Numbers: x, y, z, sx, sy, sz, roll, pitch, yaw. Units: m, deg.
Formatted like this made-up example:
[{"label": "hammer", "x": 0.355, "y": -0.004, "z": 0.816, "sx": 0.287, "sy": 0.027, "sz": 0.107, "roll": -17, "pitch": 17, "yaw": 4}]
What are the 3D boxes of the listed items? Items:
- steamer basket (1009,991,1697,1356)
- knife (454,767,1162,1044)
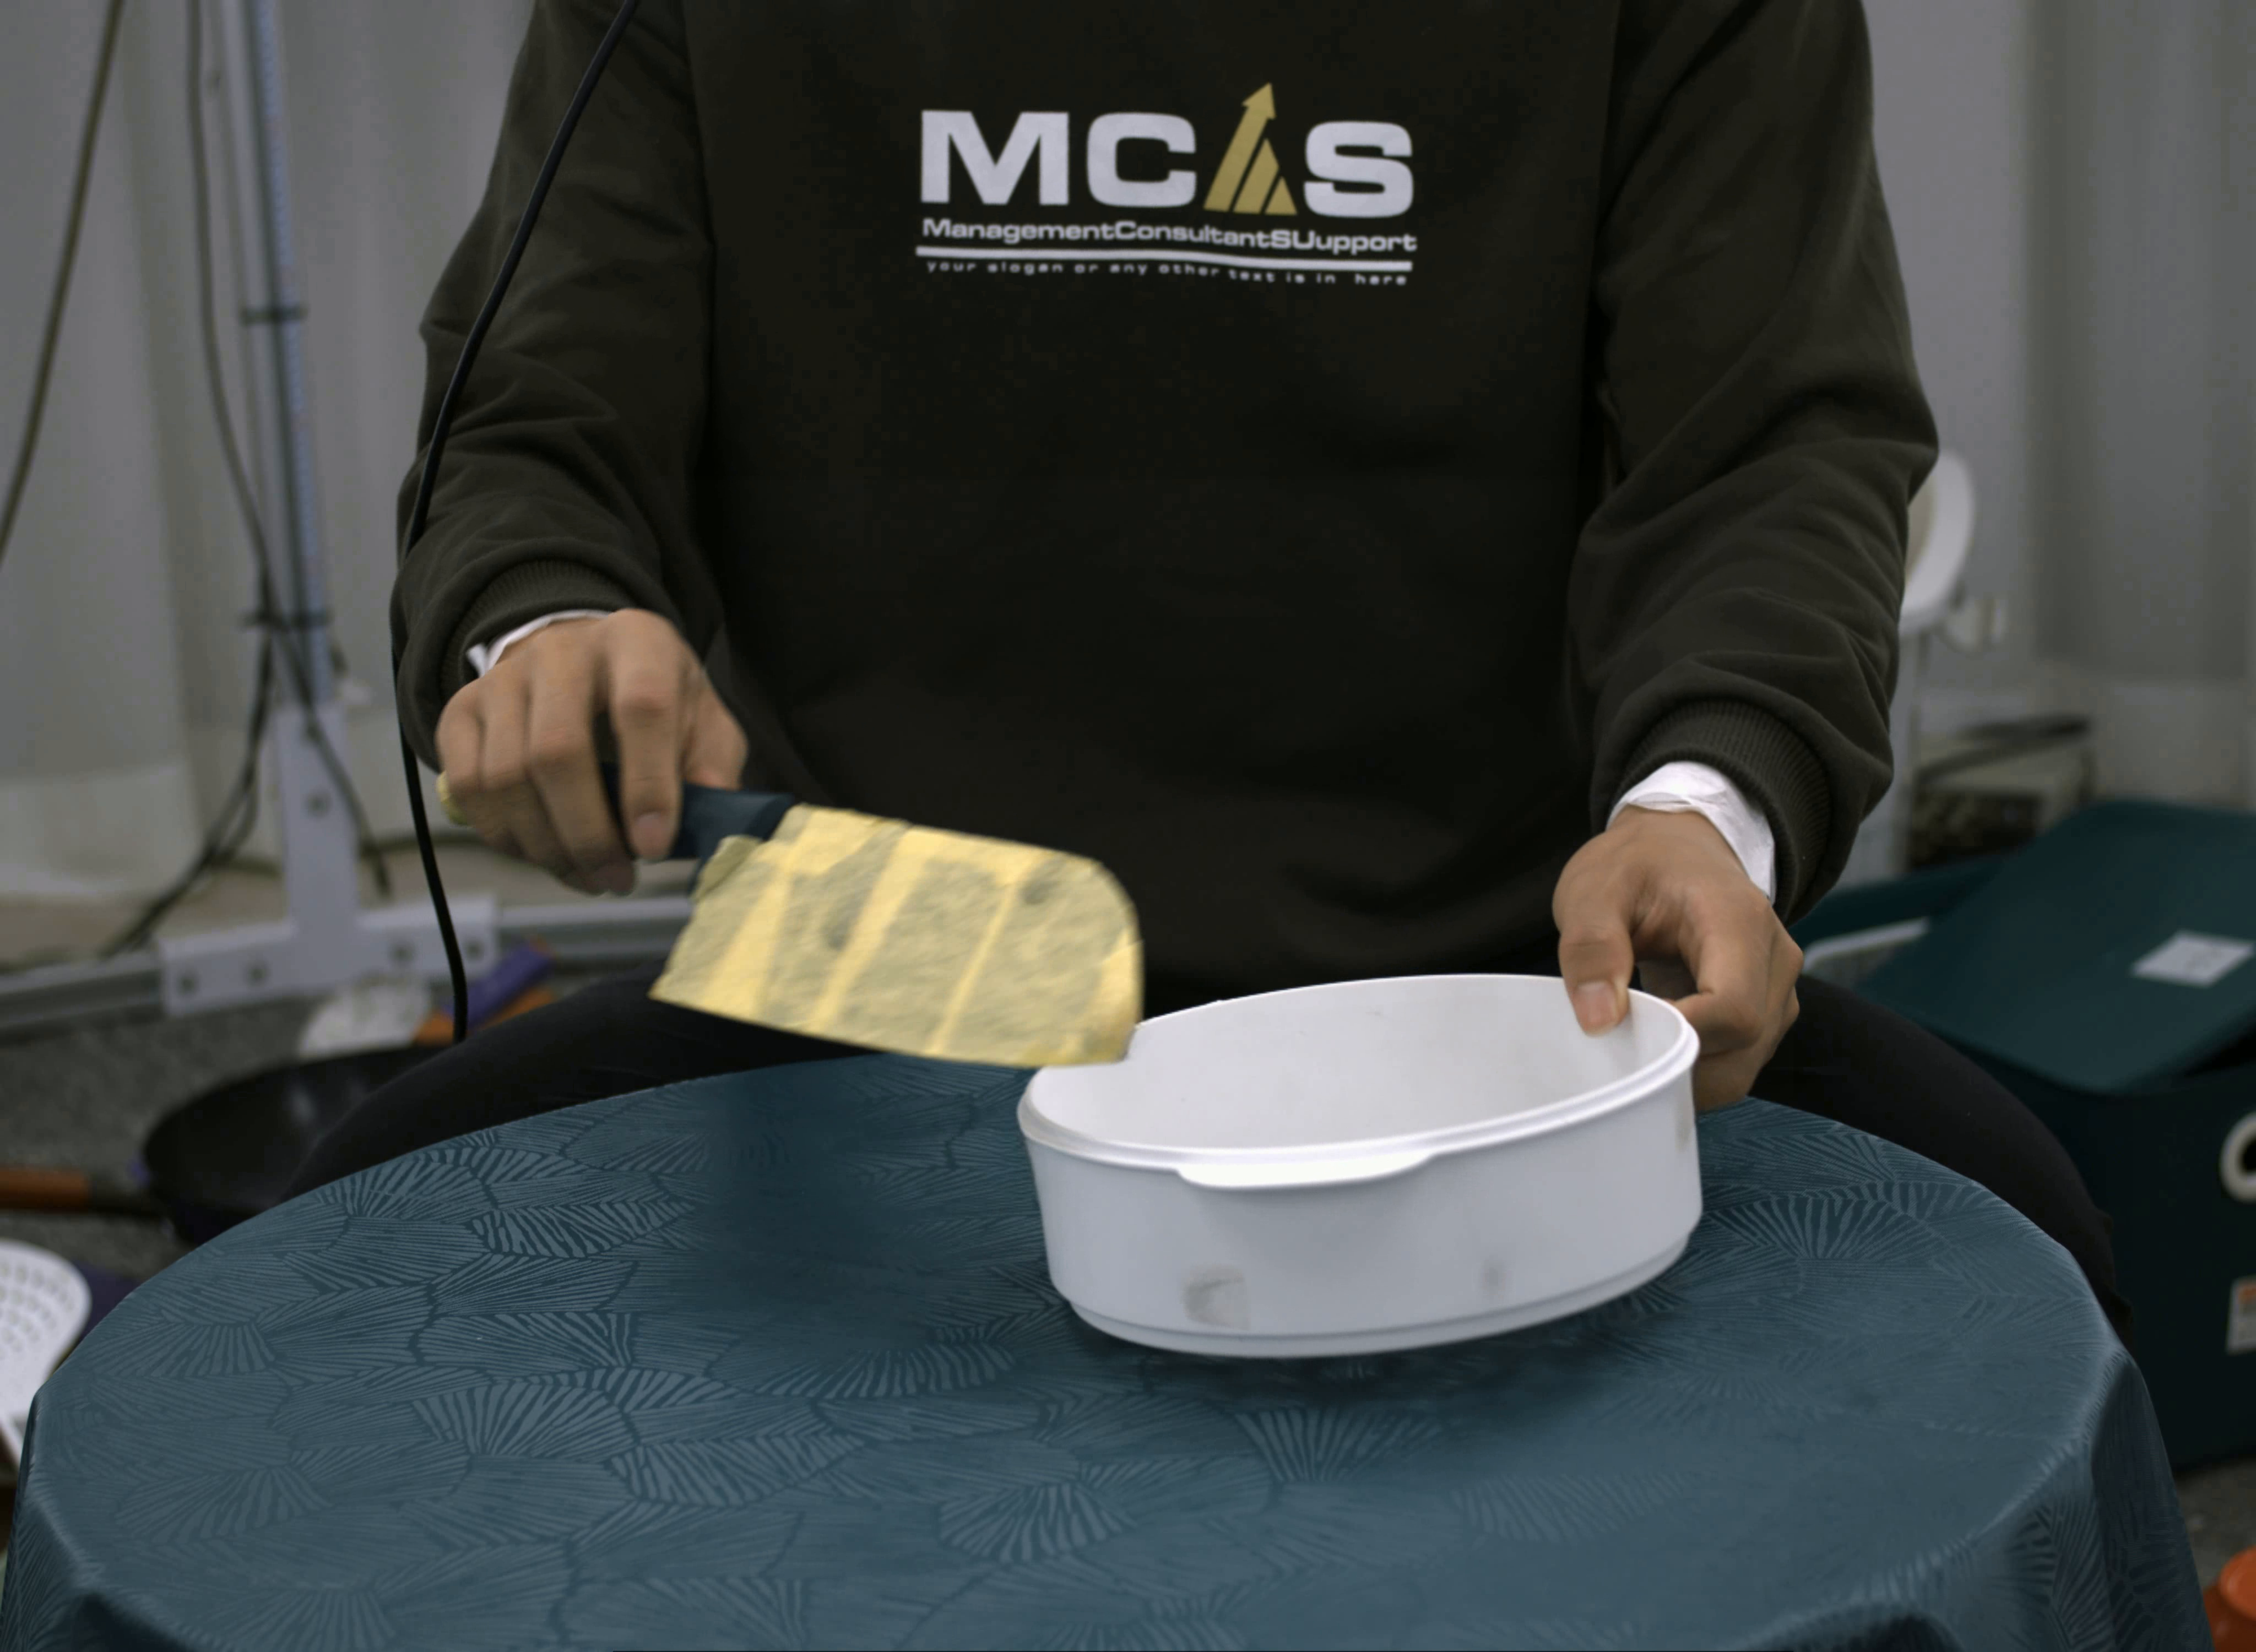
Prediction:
[{"label": "steamer basket", "x": 0.068, "y": 0.101, "z": 1.602, "sx": 0.201, "sy": 0.069, "sz": 0.231, "roll": -4, "pitch": 10, "yaw": 14}, {"label": "knife", "x": -0.102, "y": 0.023, "z": 1.629, "sx": 0.291, "sy": 0.027, "sz": 0.081, "roll": 11, "pitch": 62, "yaw": 39}]
